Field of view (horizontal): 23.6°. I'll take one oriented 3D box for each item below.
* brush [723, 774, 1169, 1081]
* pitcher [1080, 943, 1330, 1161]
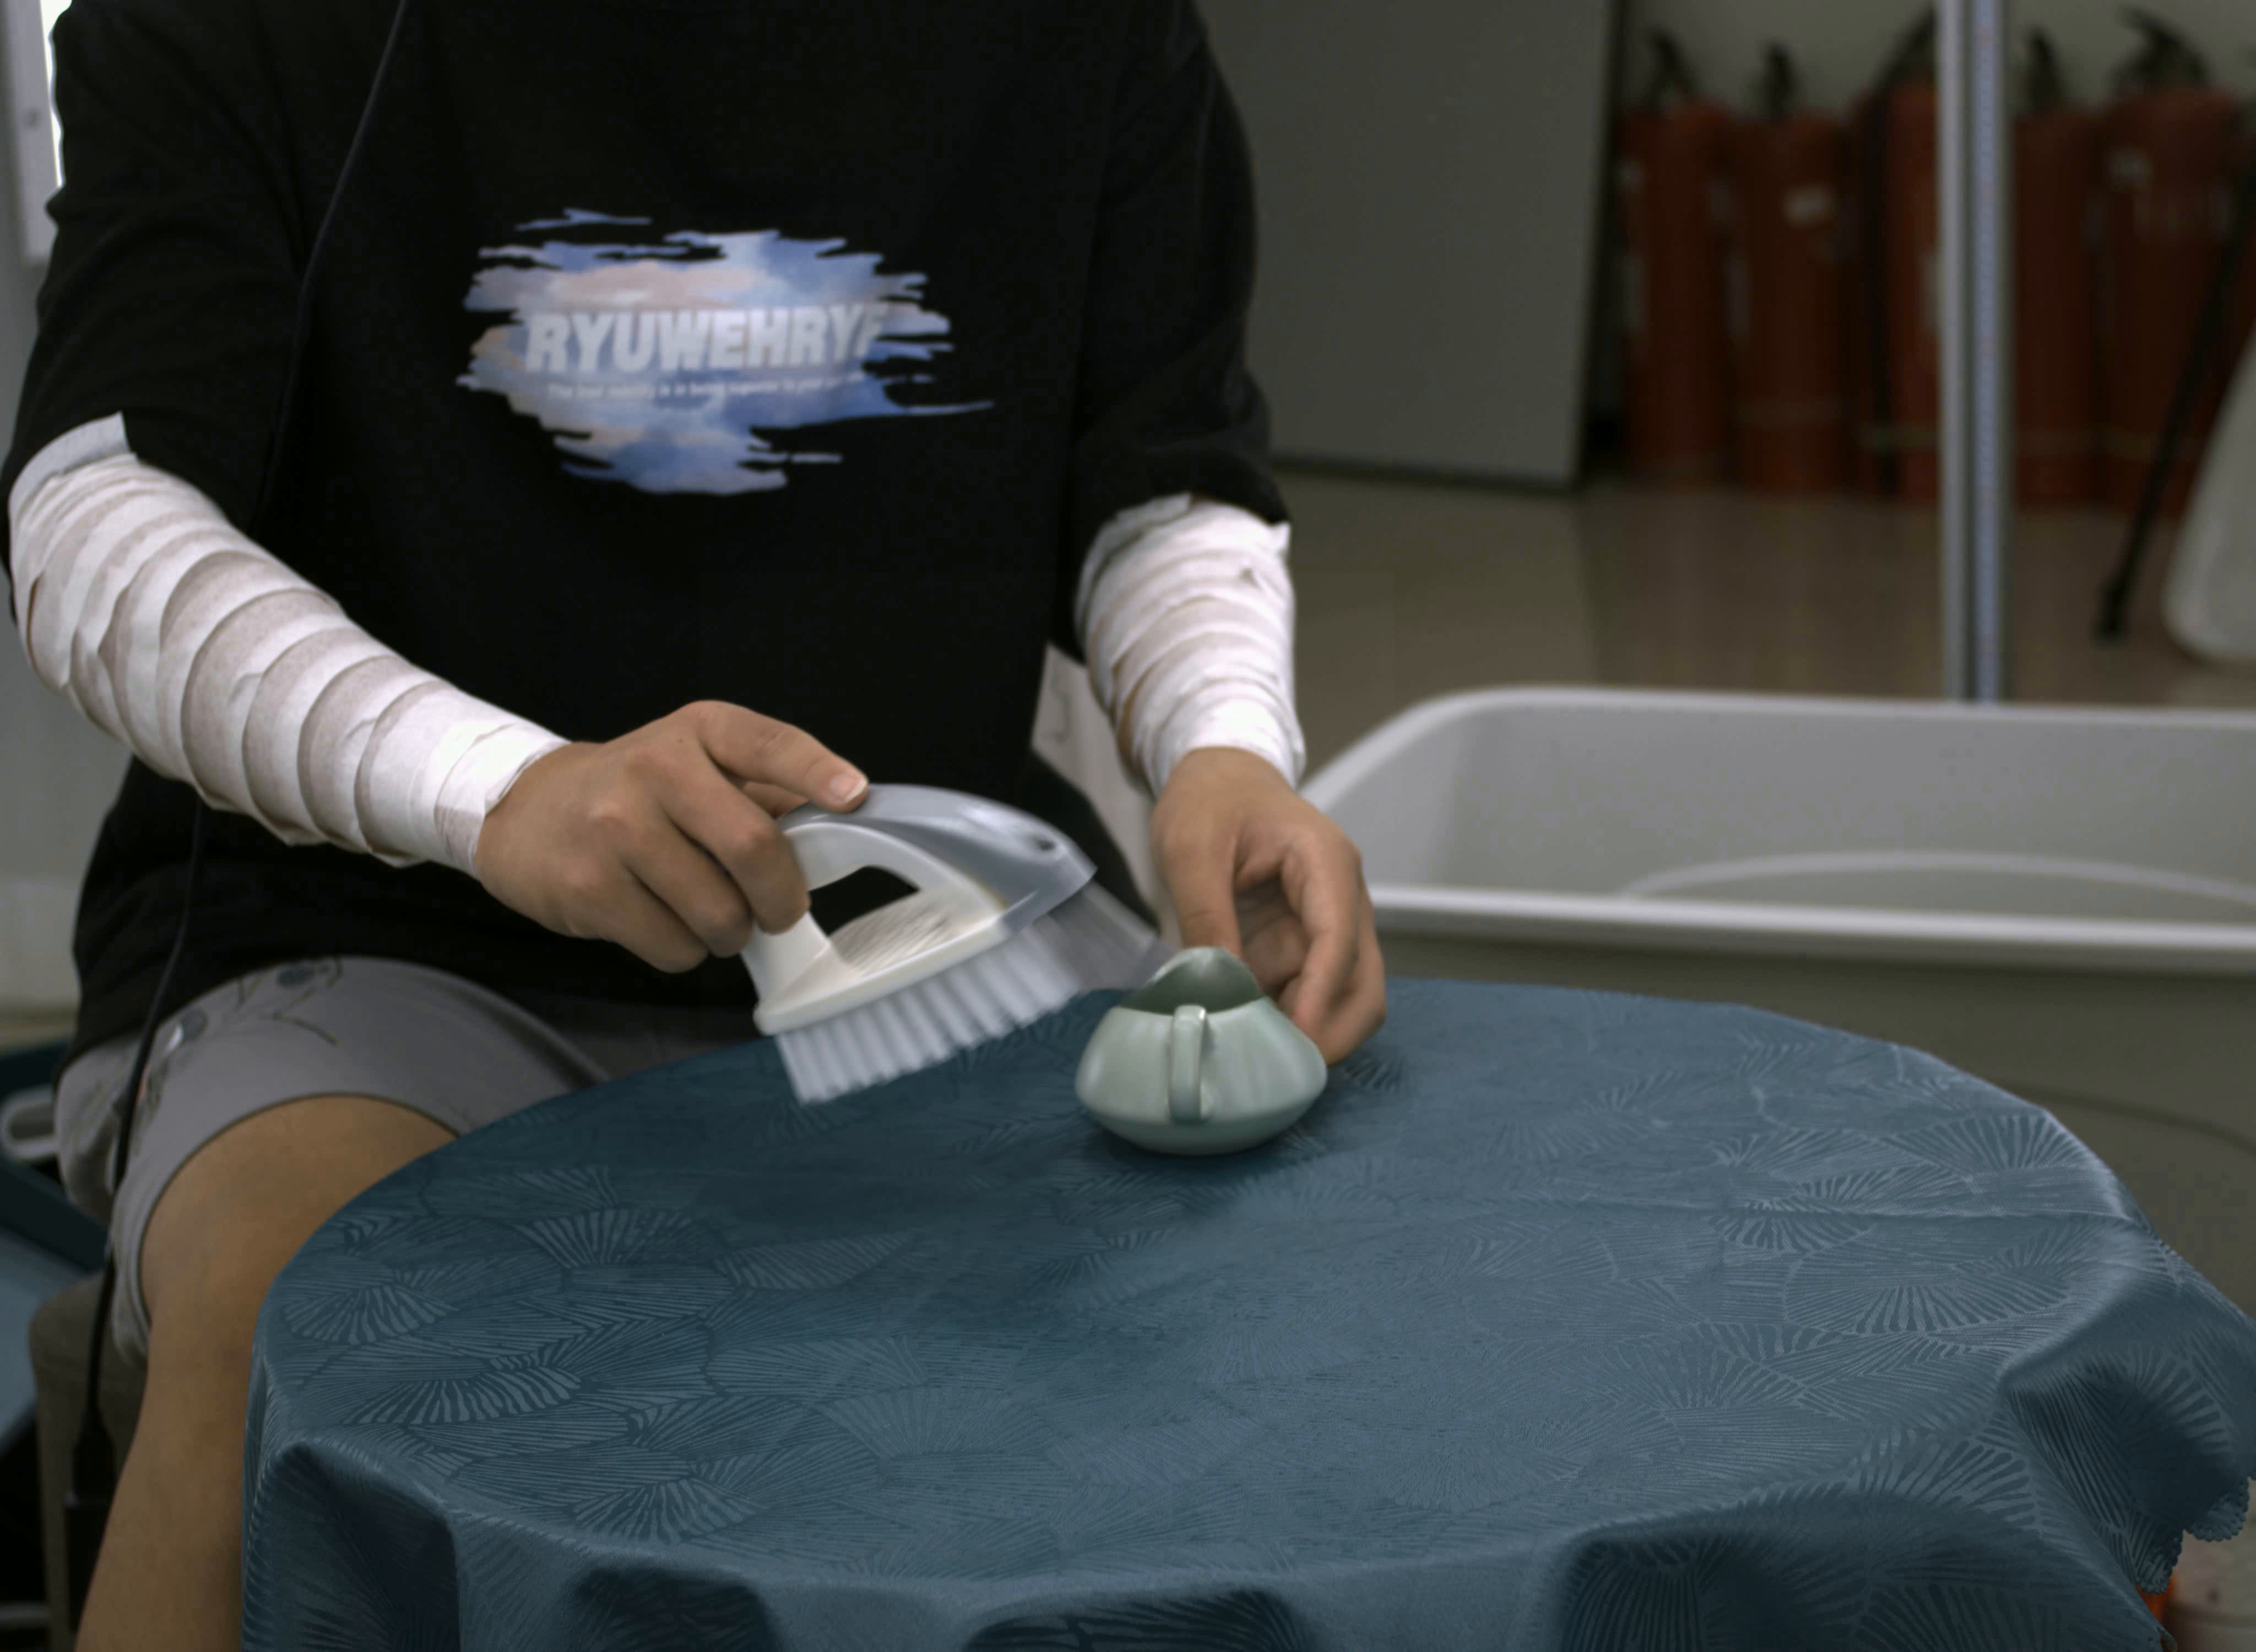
[{"bbox_3d":[-0.065,0.020,1.729,0.177,0.094,0.061,-20,26,50],"label":"brush"},{"bbox_3d":[0.025,0.081,1.810,0.085,0.061,0.108,-3,15,4],"label":"pitcher"}]
